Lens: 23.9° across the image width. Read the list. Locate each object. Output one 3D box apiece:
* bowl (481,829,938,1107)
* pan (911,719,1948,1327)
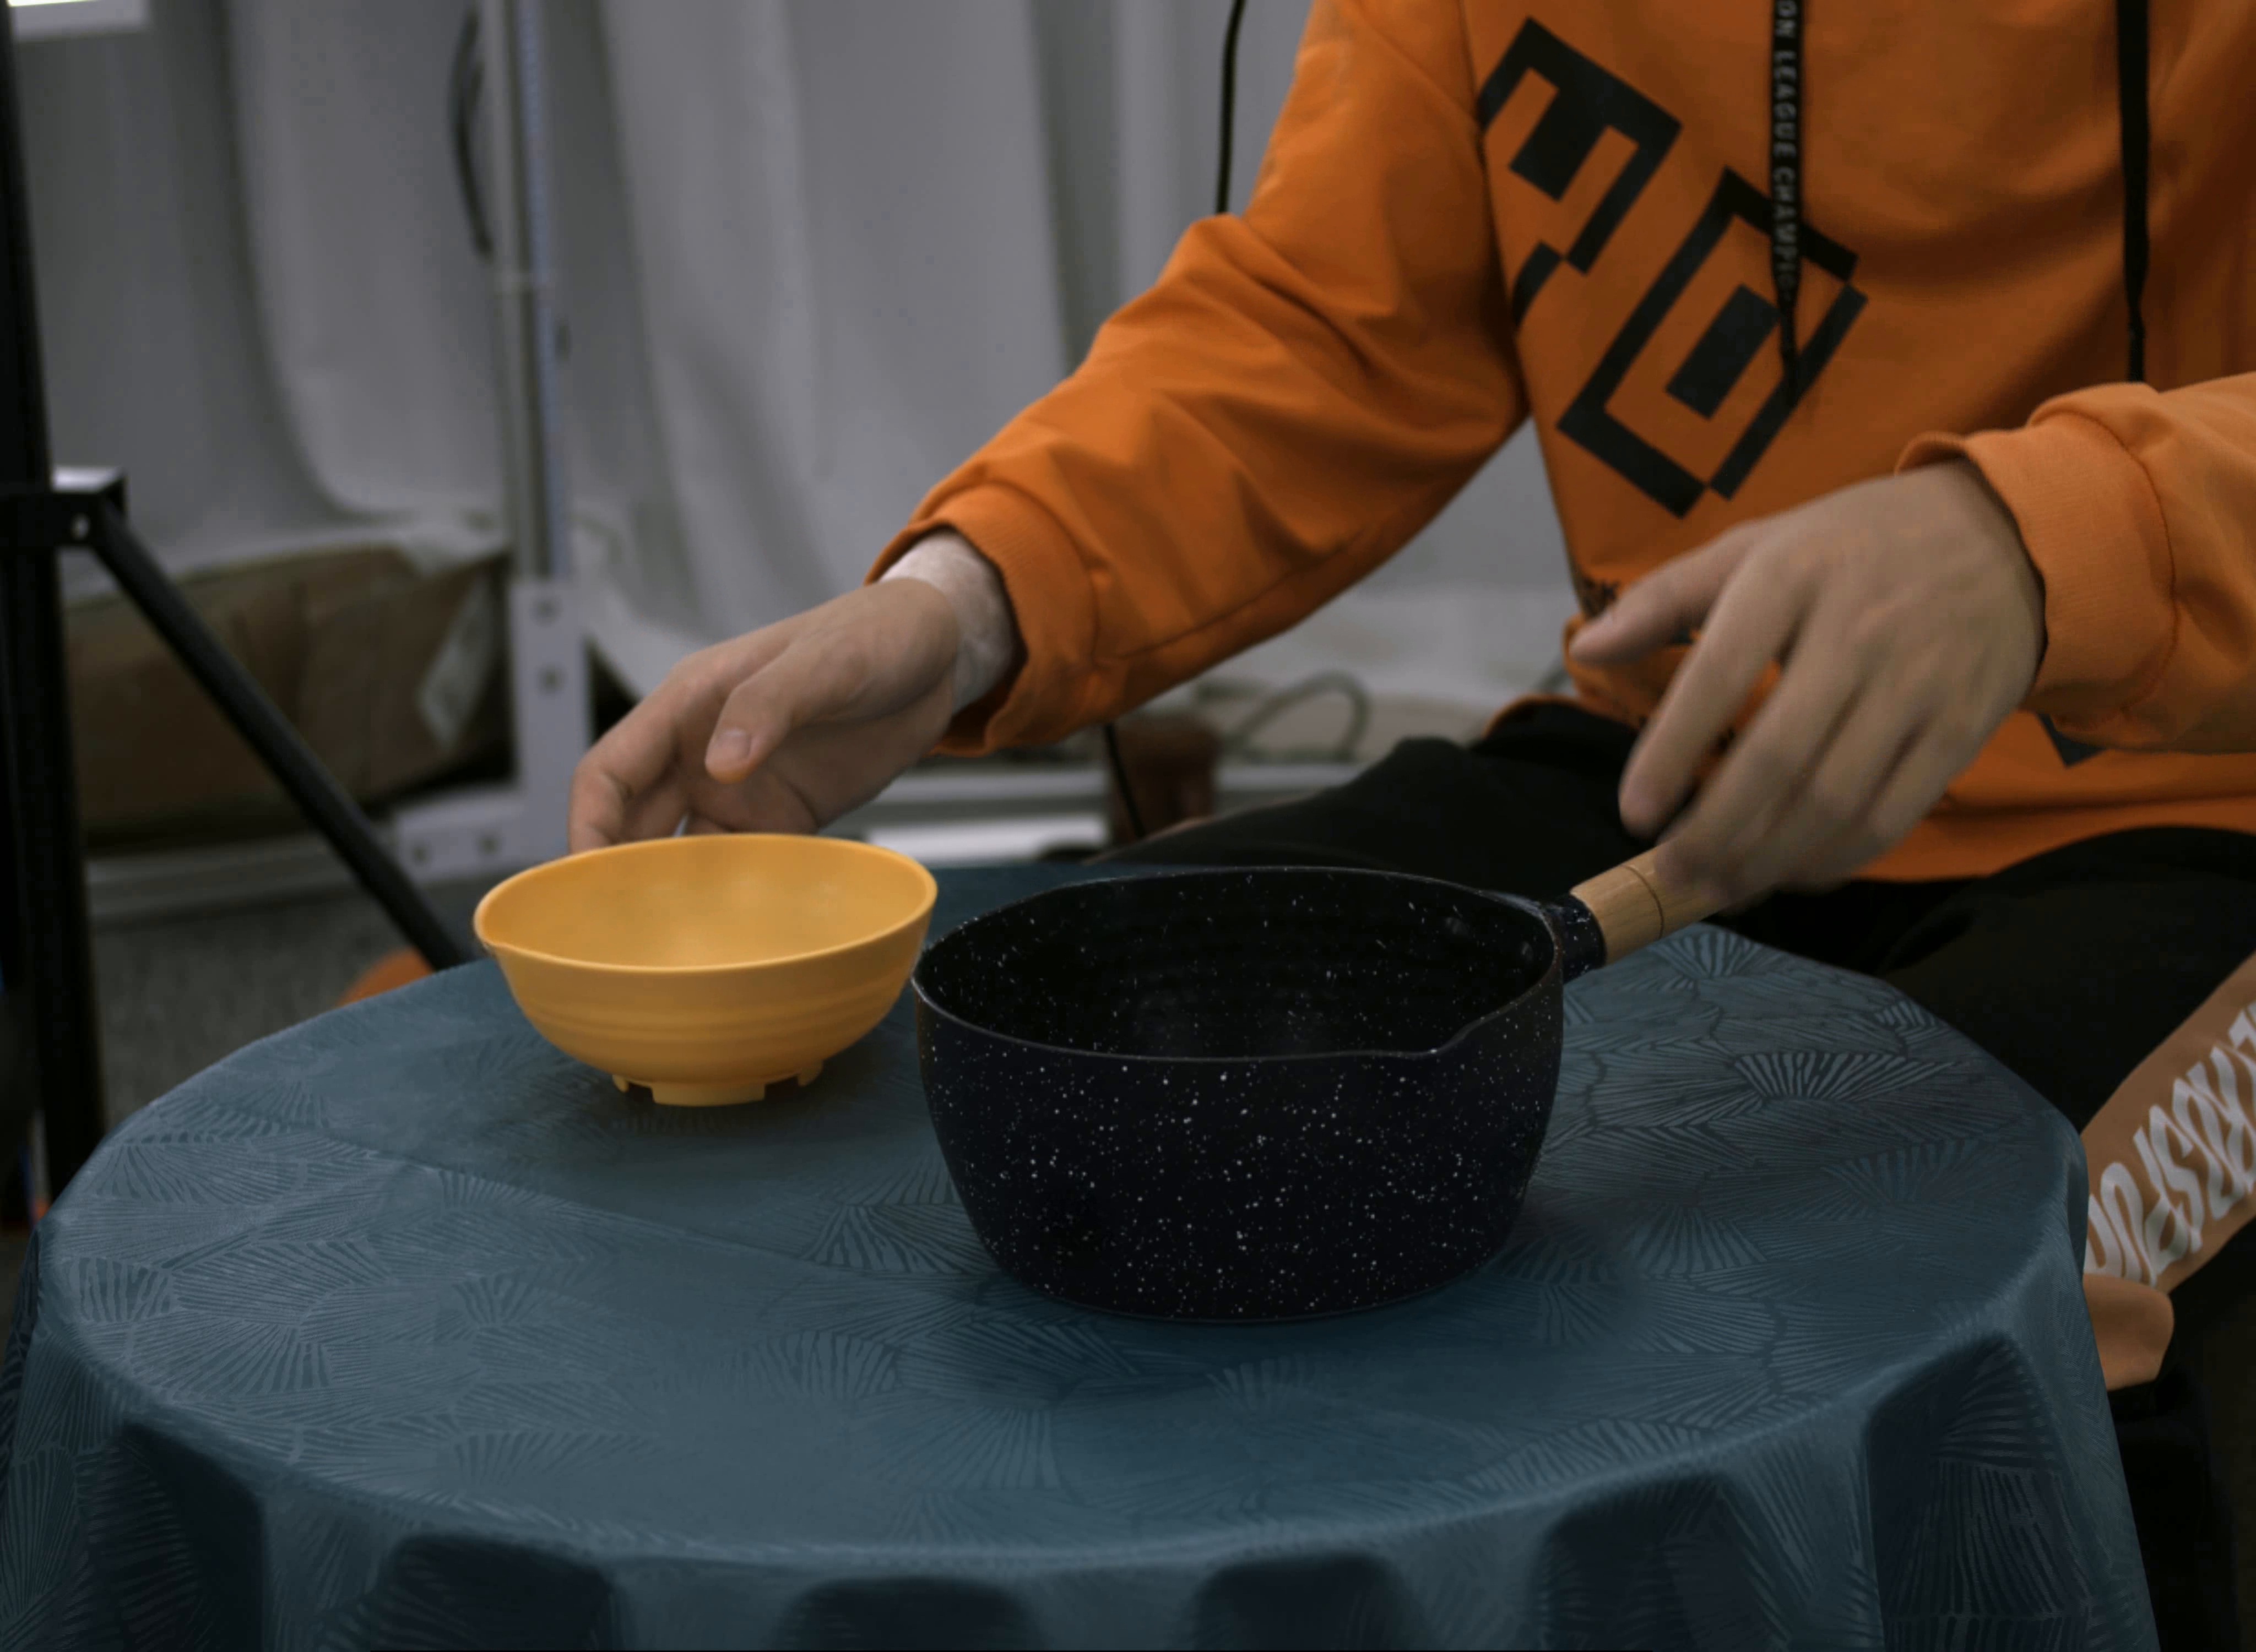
[{"bbox_3d":[-0.131,0.050,1.679,0.144,0.060,0.146,-2,16,-1],"label":"bowl"},{"bbox_3d":[0.099,0.052,1.540,0.335,0.108,0.212,-13,17,-28],"label":"pan"}]
